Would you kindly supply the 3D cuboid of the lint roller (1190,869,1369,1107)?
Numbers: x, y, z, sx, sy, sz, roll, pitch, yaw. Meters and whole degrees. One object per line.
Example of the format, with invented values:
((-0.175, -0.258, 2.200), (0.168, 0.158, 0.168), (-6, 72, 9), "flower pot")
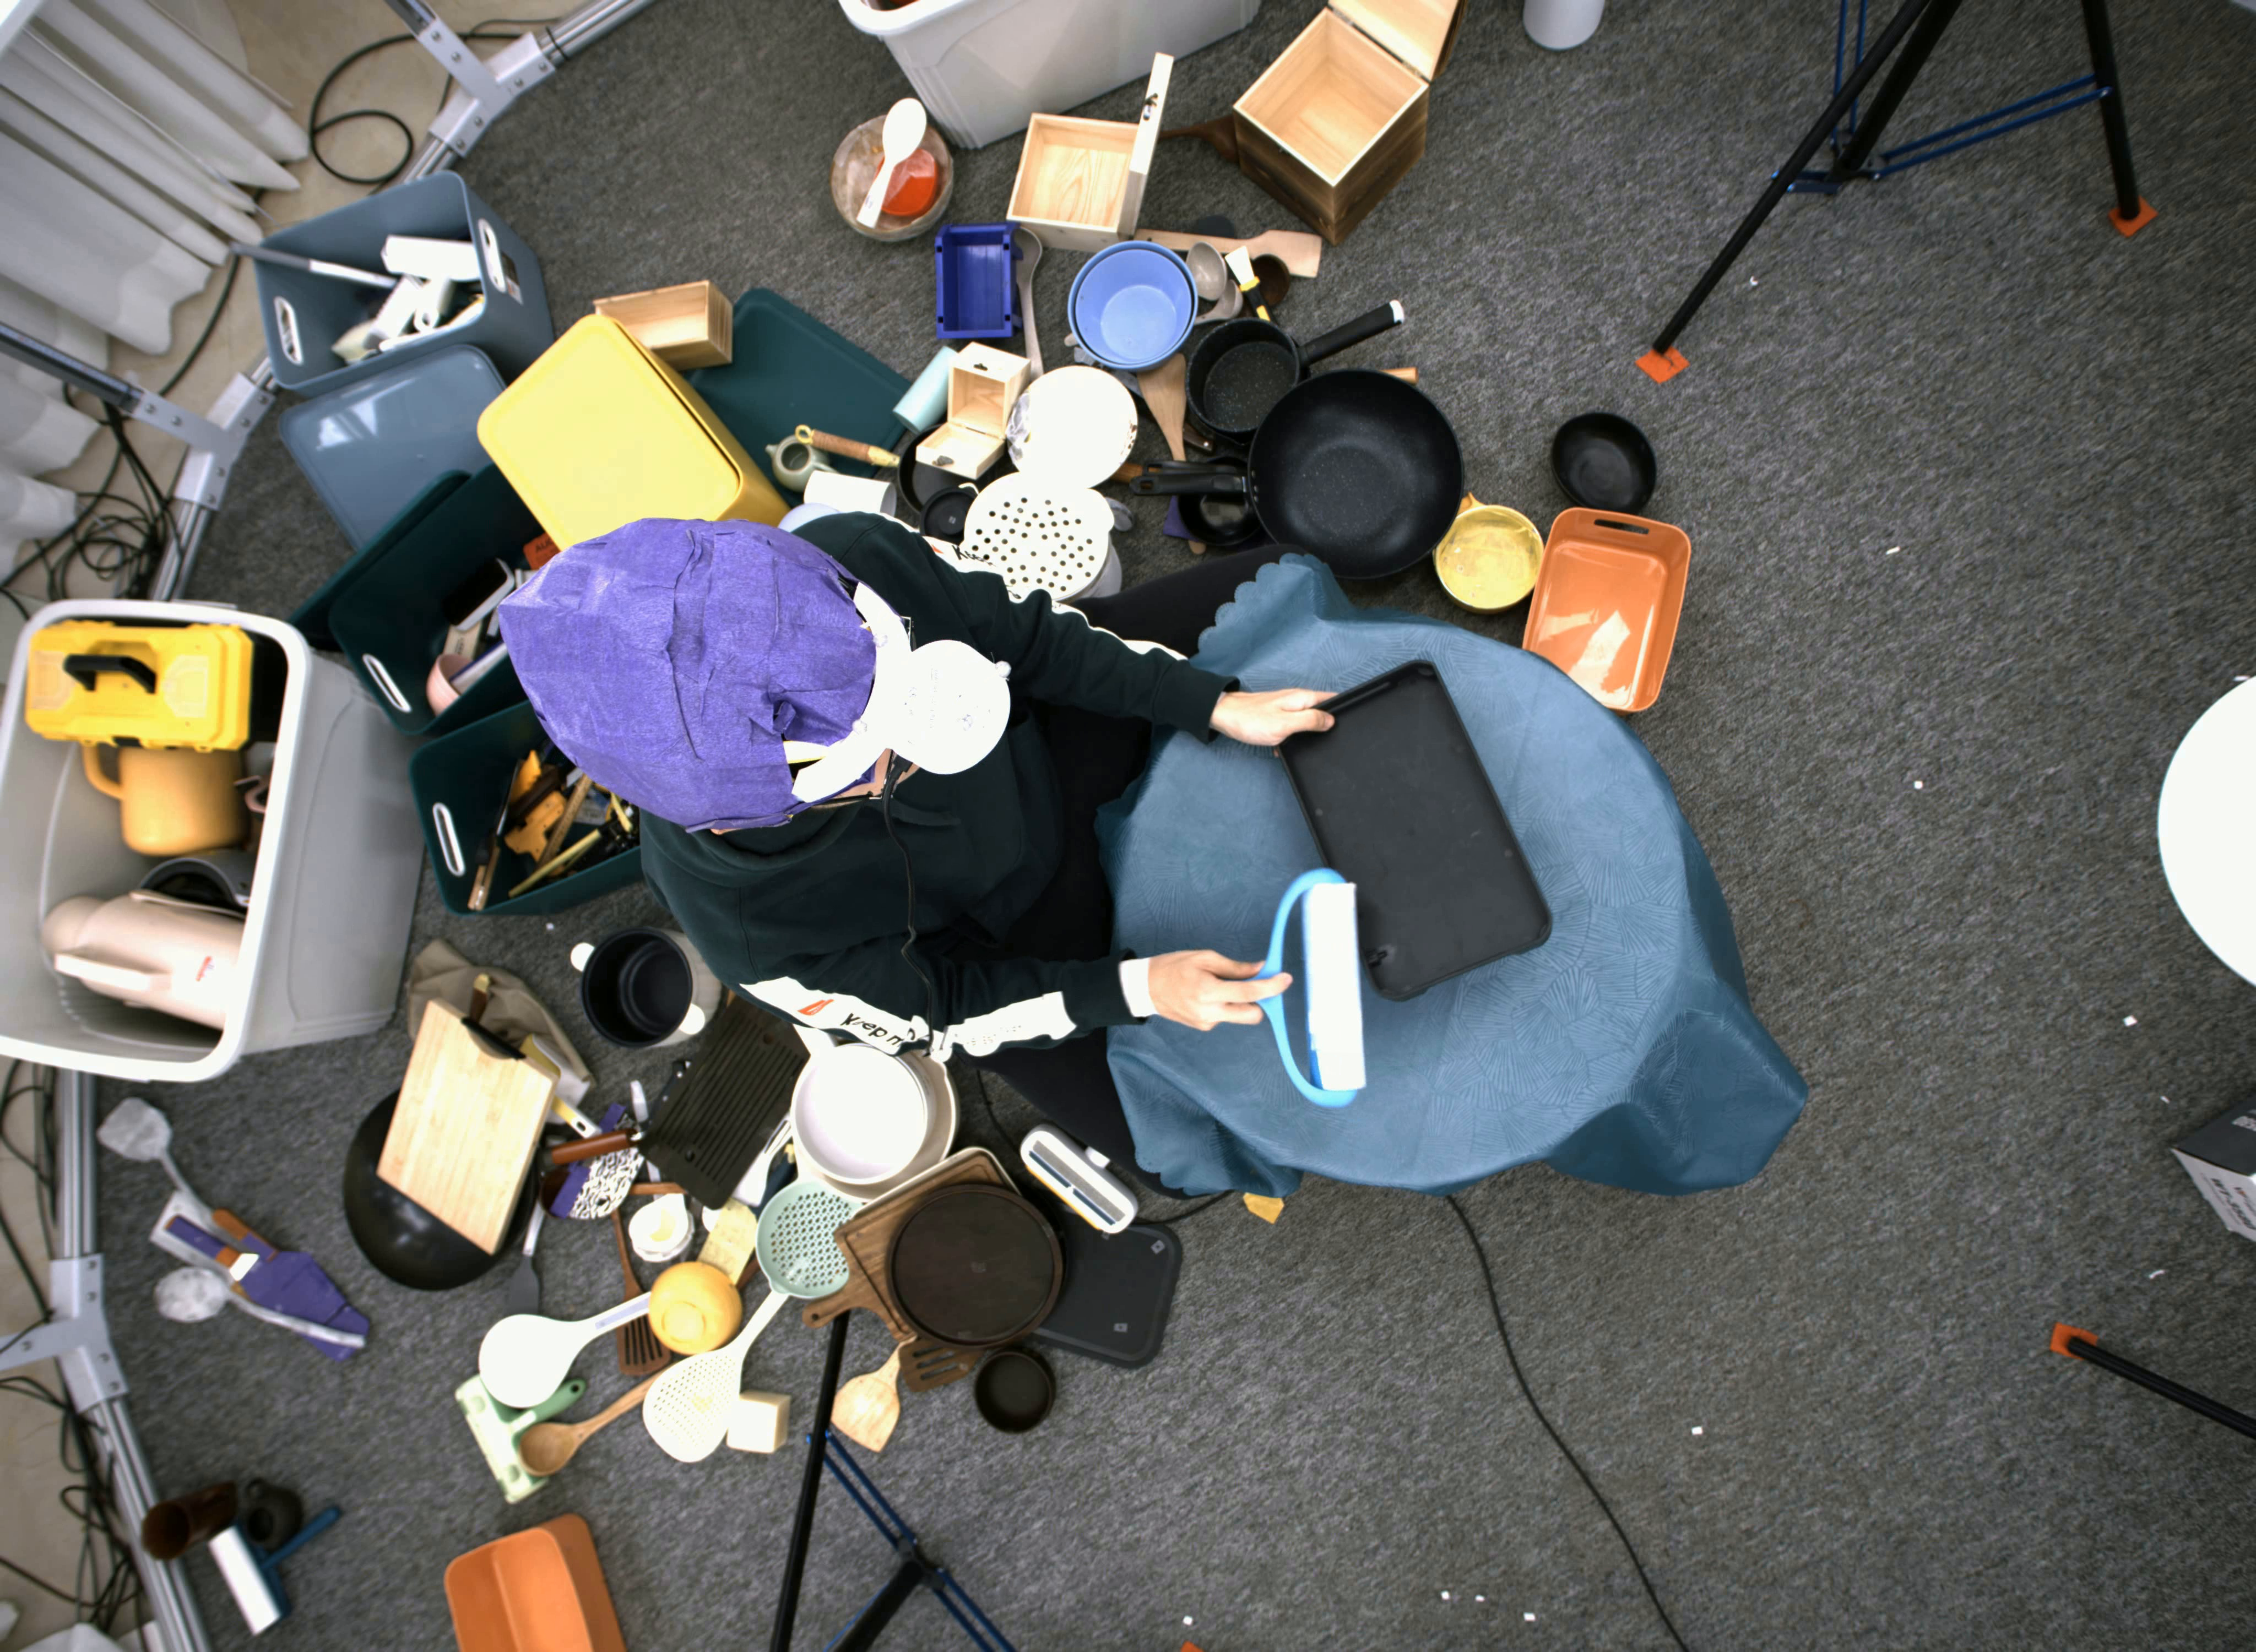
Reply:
((0.142, 0.160, 1.346), (0.181, 0.068, 0.228), (-6, 87, 16), "lint roller")

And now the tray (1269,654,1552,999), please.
((0.277, -0.002, 1.371), (0.186, 0.037, 0.313), (-26, 71, 17), "tray")
